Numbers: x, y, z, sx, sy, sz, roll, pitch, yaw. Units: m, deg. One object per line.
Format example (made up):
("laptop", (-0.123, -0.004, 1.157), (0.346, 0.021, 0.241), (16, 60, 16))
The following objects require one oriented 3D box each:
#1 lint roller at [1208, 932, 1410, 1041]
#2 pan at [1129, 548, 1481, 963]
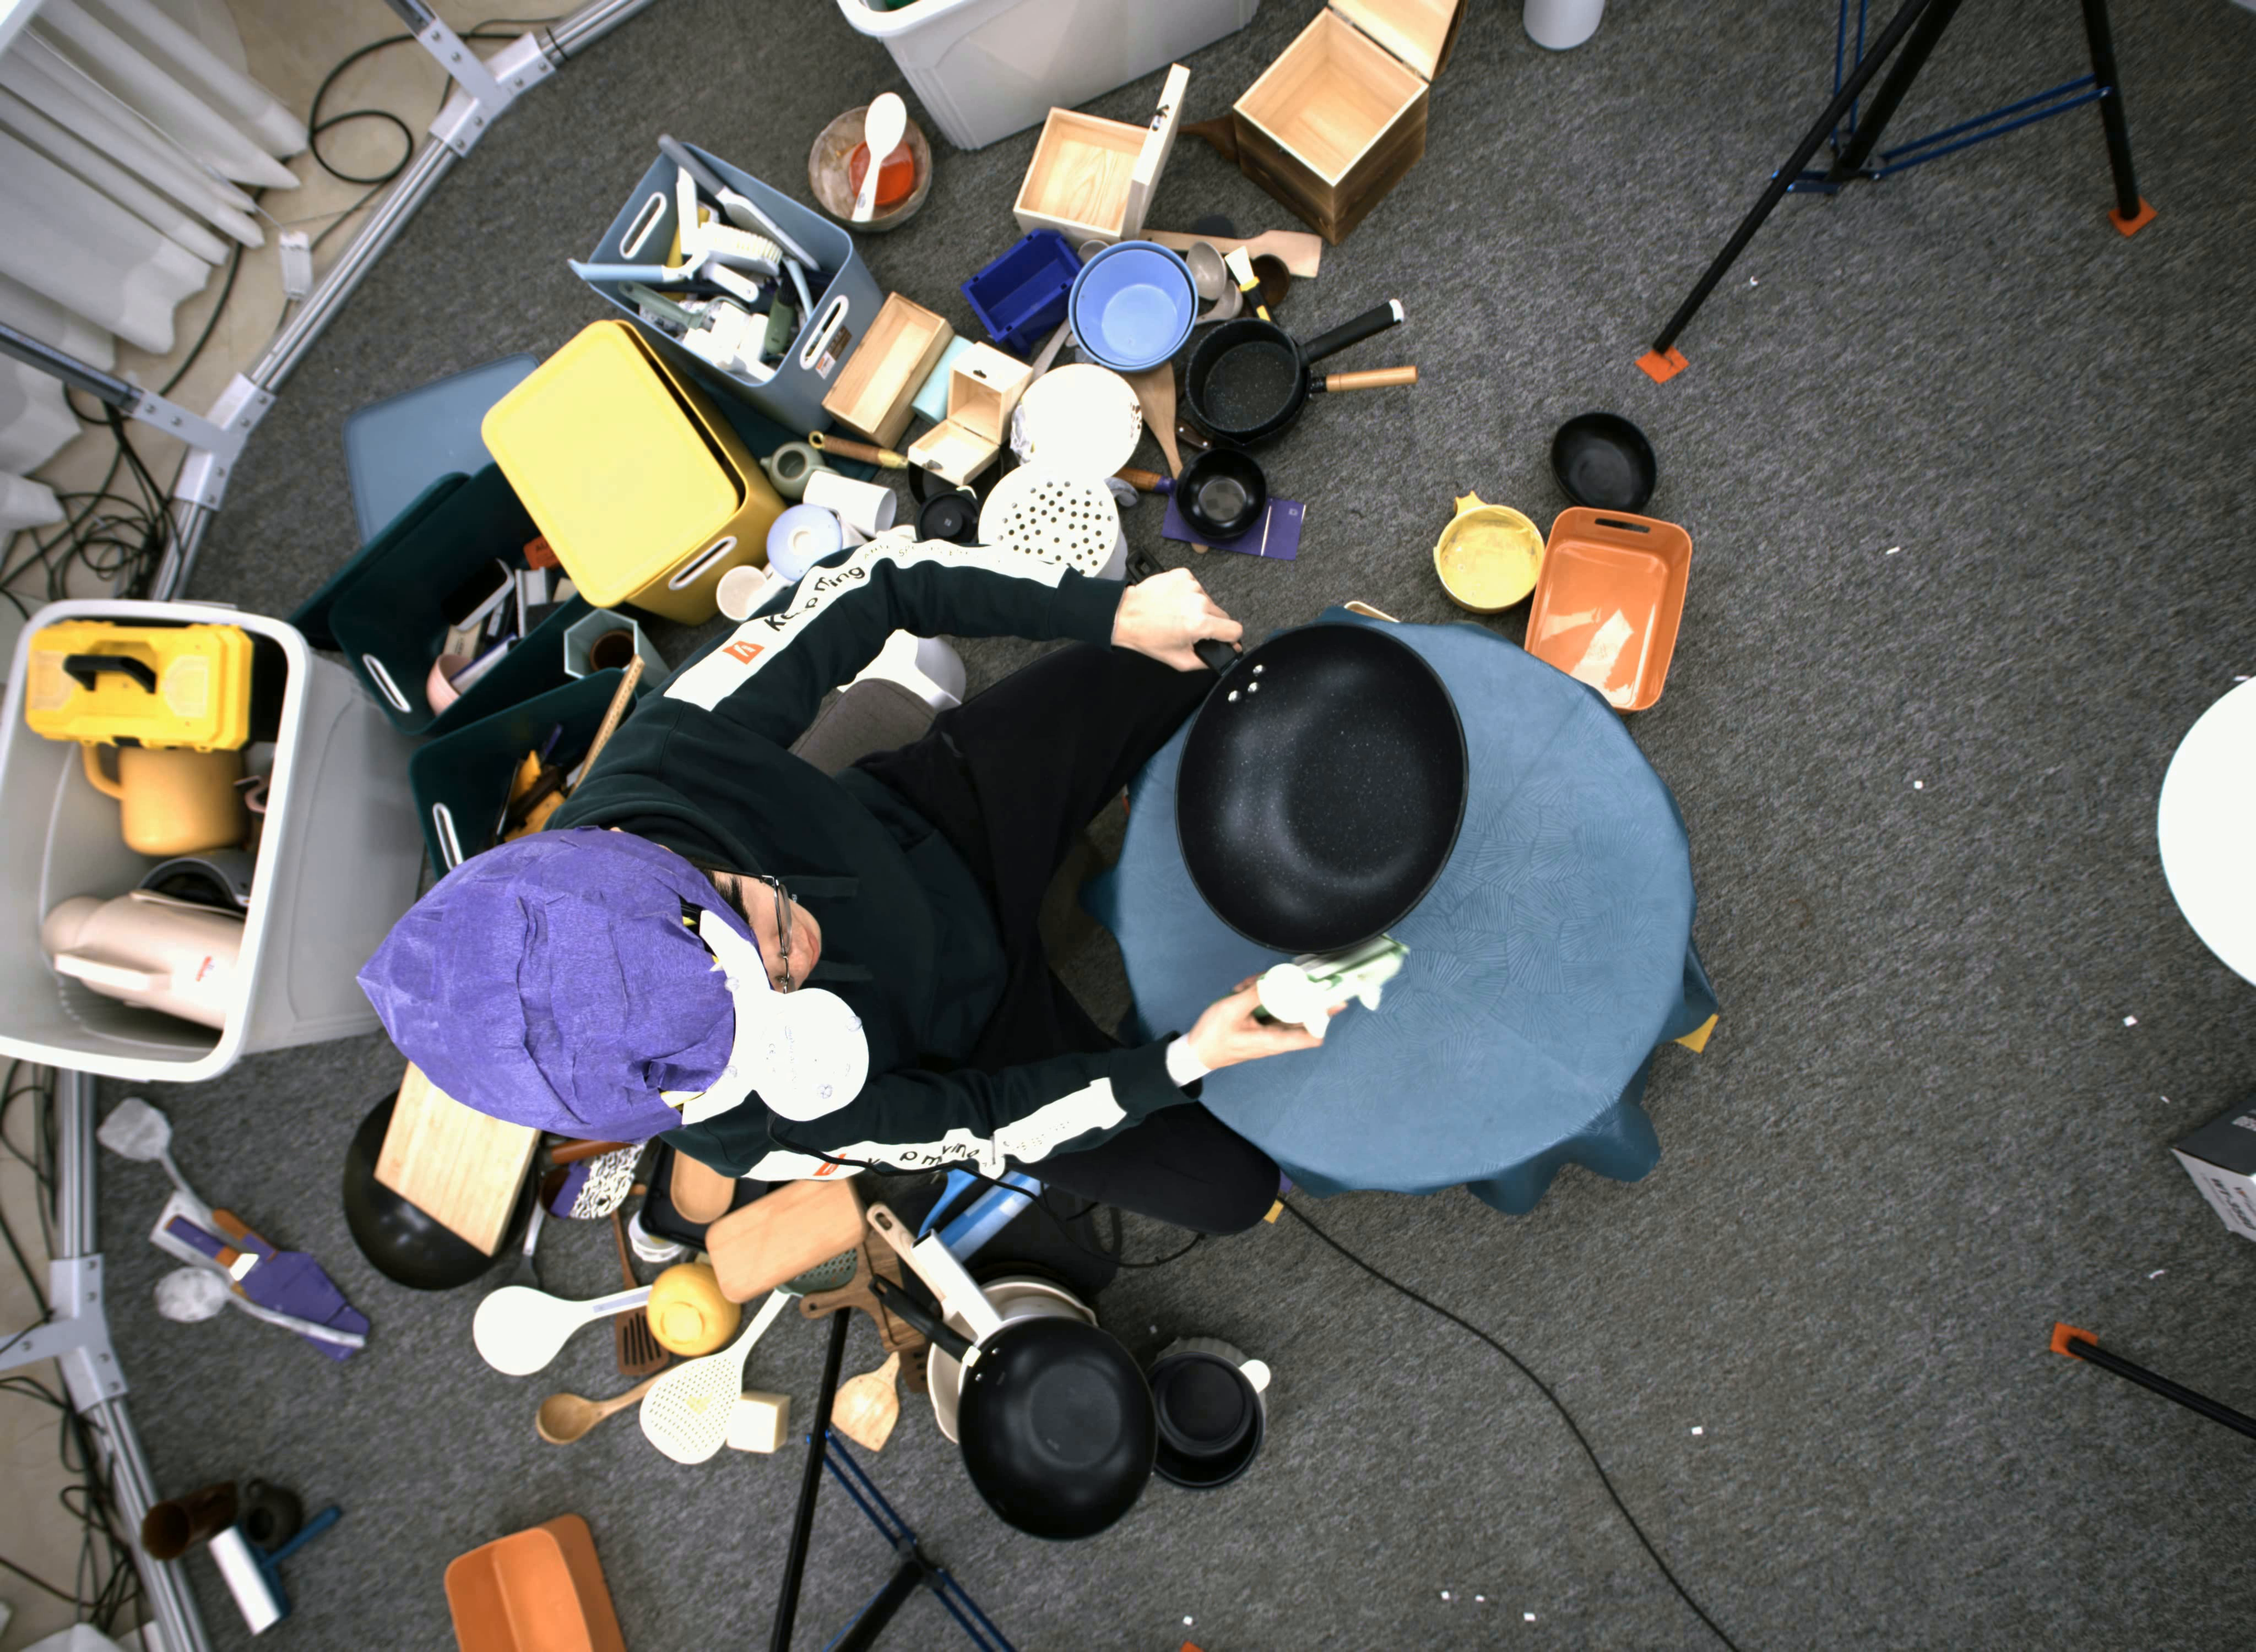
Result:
("lint roller", (0.159, 0.170, 1.312), (0.187, 0.196, 0.081), (-35, 77, 32))
("pan", (0.149, -0.090, 1.313), (0.316, 0.111, 0.469), (-45, 61, 24))
